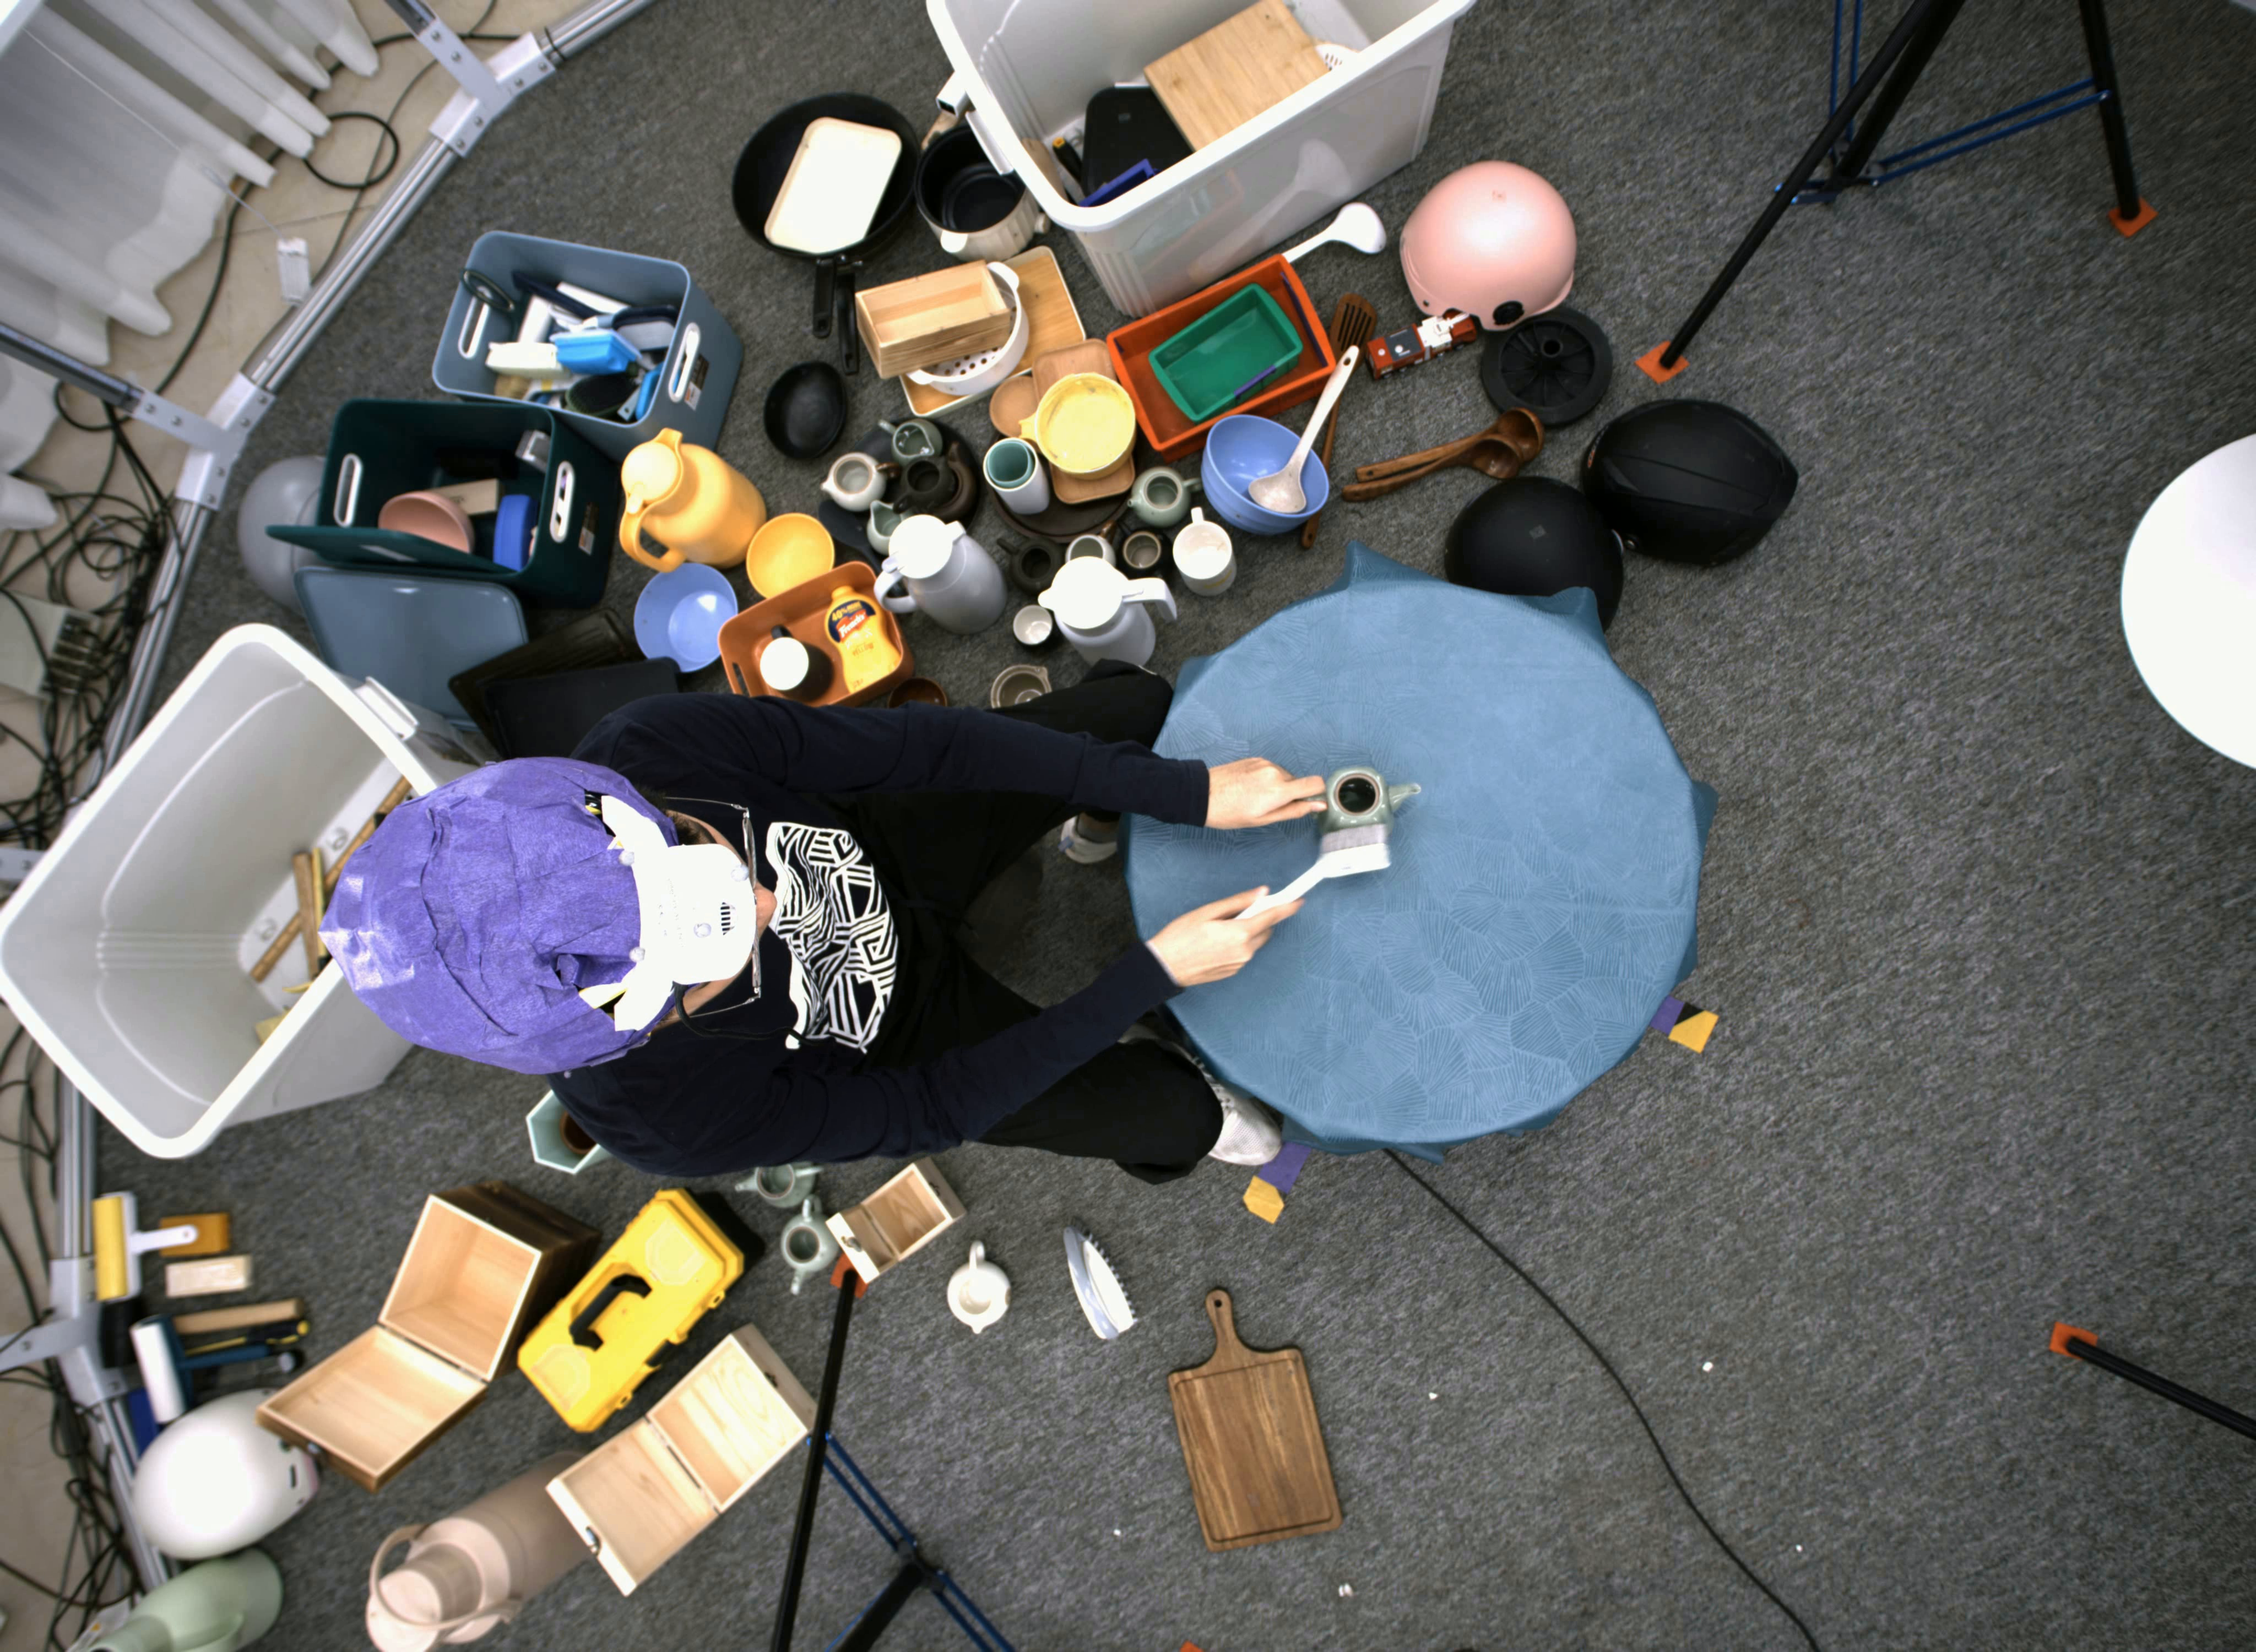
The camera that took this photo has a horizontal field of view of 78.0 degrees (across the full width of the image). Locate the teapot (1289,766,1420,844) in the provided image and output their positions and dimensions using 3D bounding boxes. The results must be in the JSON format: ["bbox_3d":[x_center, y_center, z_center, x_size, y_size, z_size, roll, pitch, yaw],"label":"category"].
[{"bbox_3d":[0.234,-0.024,1.428,0.133,0.076,0.078,-6,72,6],"label":"teapot"}]

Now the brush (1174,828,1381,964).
[{"bbox_3d":[0.149,0.067,1.415,0.245,0.035,0.049,-27,63,8],"label":"brush"}]
